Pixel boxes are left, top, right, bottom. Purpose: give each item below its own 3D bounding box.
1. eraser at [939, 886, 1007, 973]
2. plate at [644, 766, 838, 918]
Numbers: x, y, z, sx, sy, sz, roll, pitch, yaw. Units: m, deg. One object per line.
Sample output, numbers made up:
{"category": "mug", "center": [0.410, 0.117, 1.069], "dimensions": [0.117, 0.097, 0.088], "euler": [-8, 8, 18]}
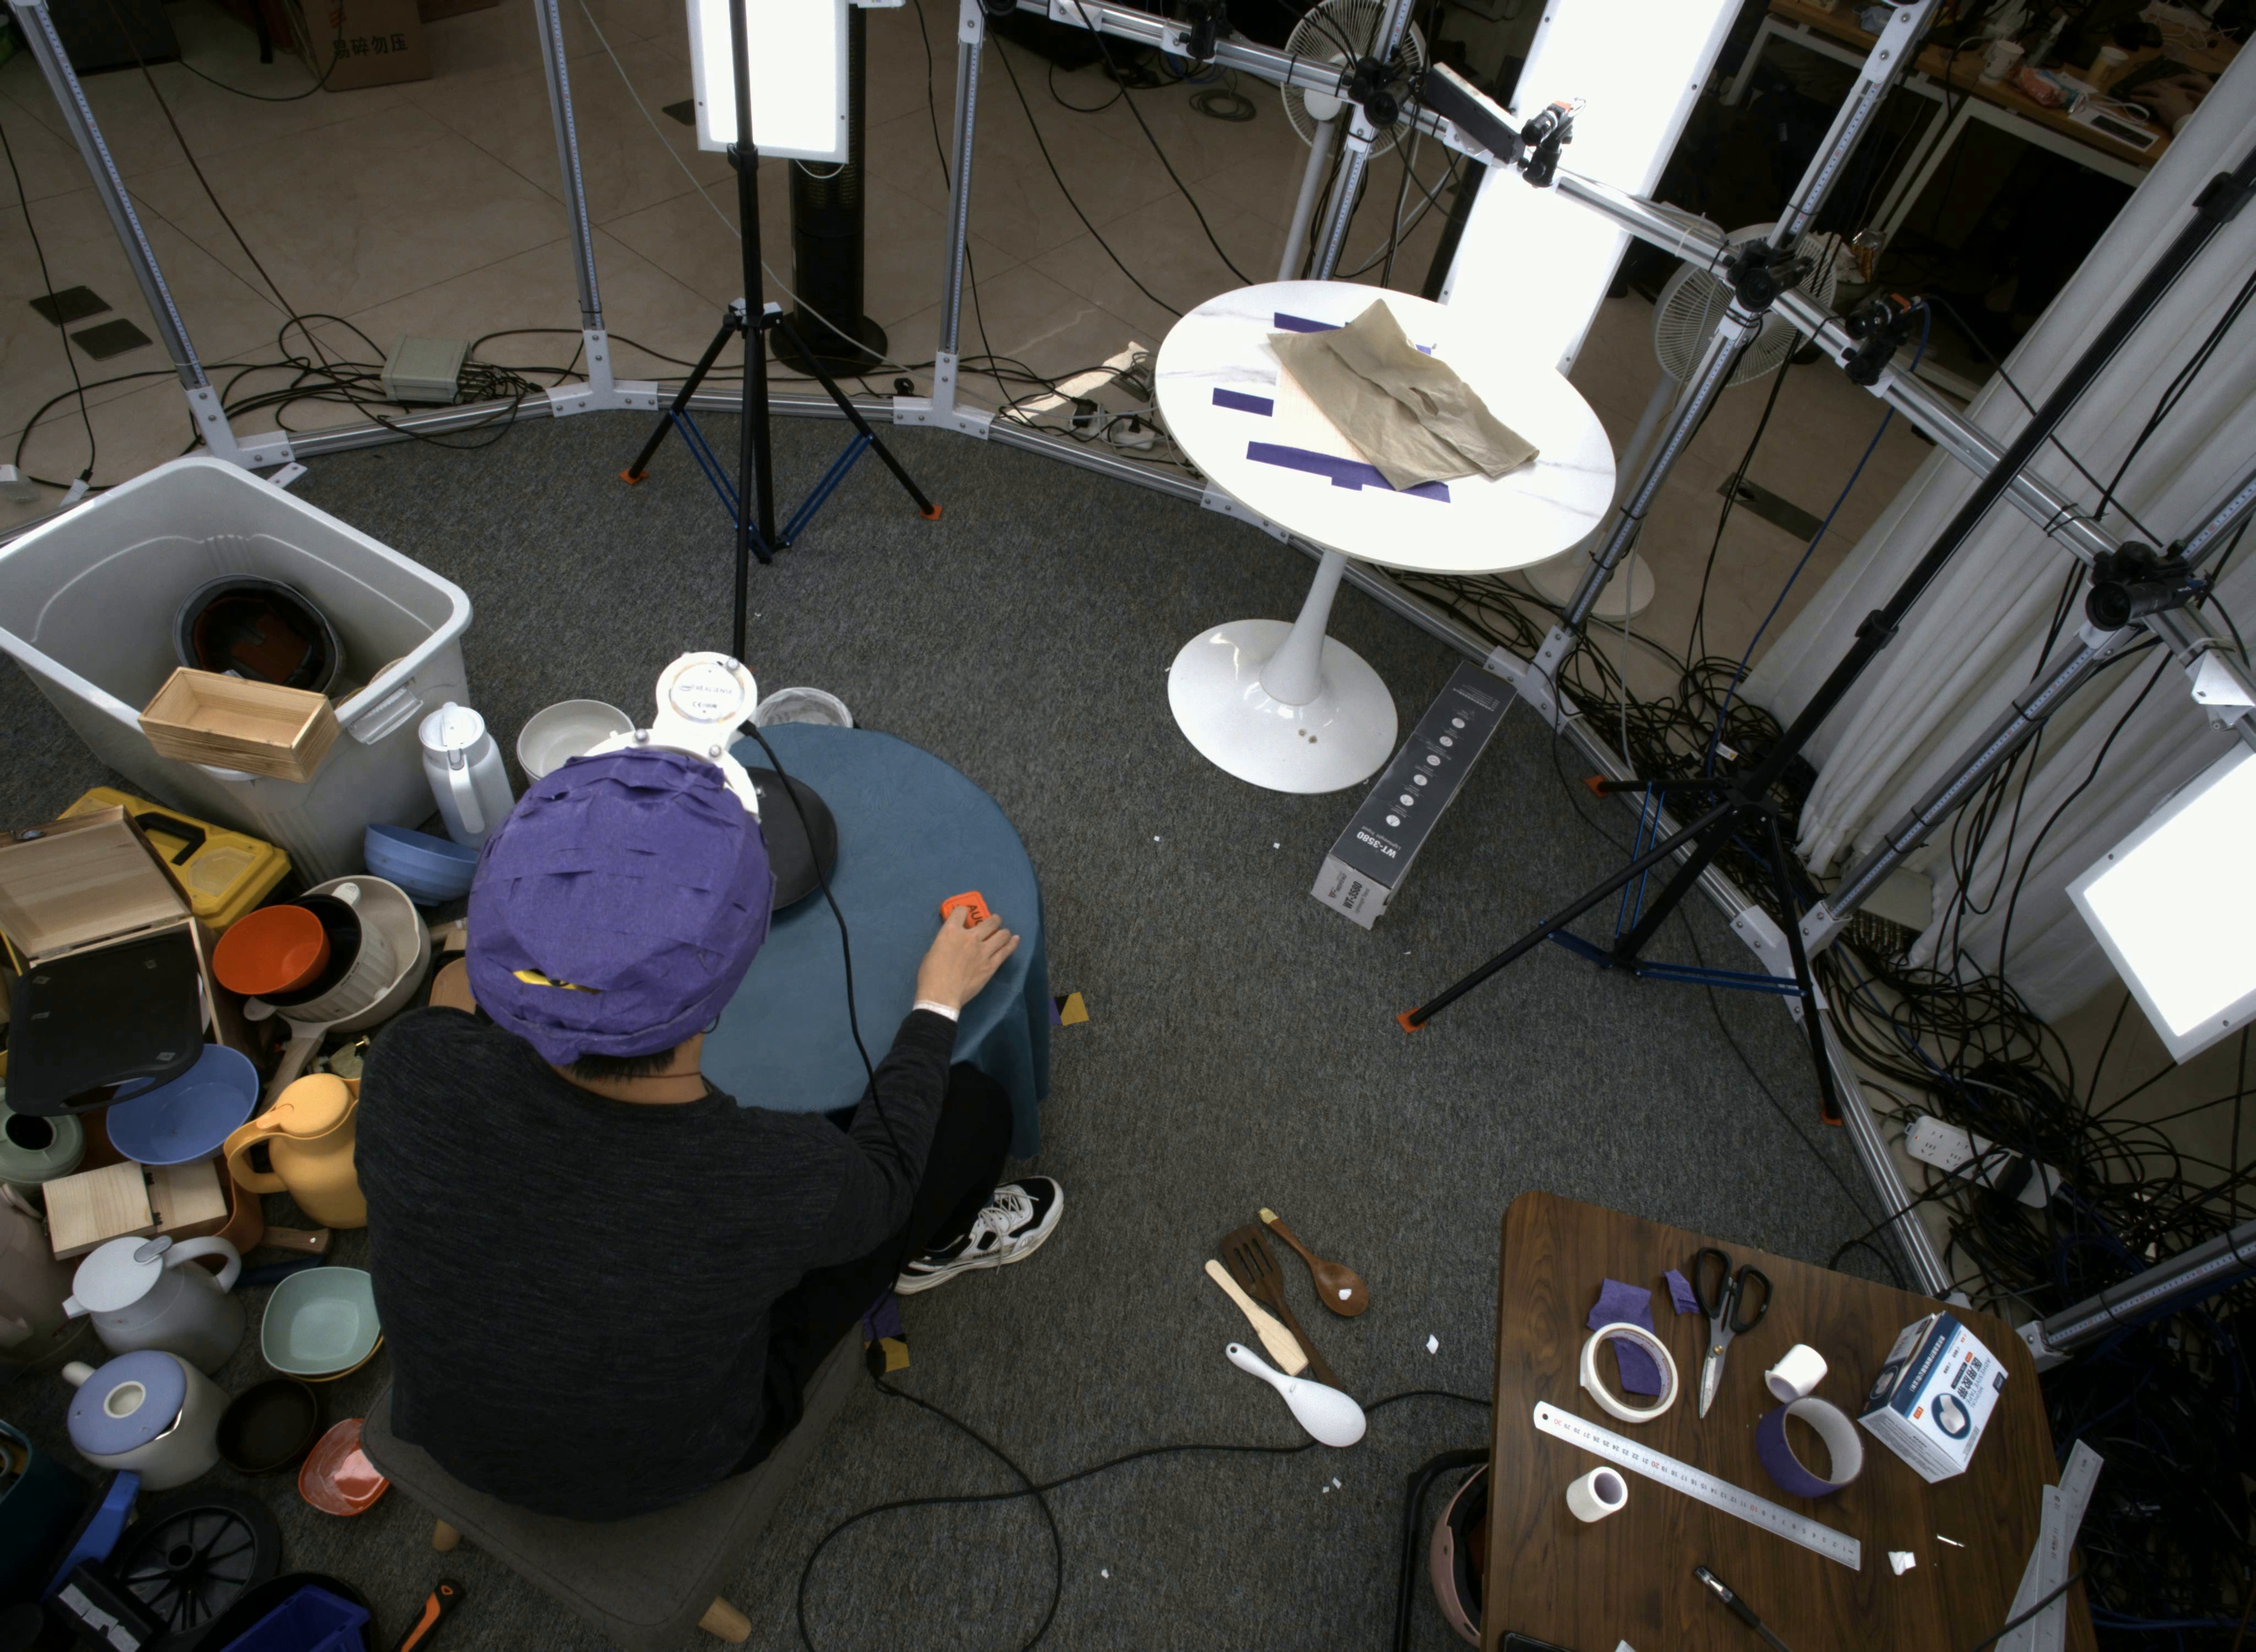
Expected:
{"category": "eraser", "center": [-0.198, 0.130, 1.663], "dimensions": [0.059, 0.023, 0.105], "euler": [-20, 63, -19]}
{"category": "plate", "center": [-0.498, 0.021, 1.665], "dimensions": [0.244, 0.024, 0.240], "euler": [10, 51, -10]}
